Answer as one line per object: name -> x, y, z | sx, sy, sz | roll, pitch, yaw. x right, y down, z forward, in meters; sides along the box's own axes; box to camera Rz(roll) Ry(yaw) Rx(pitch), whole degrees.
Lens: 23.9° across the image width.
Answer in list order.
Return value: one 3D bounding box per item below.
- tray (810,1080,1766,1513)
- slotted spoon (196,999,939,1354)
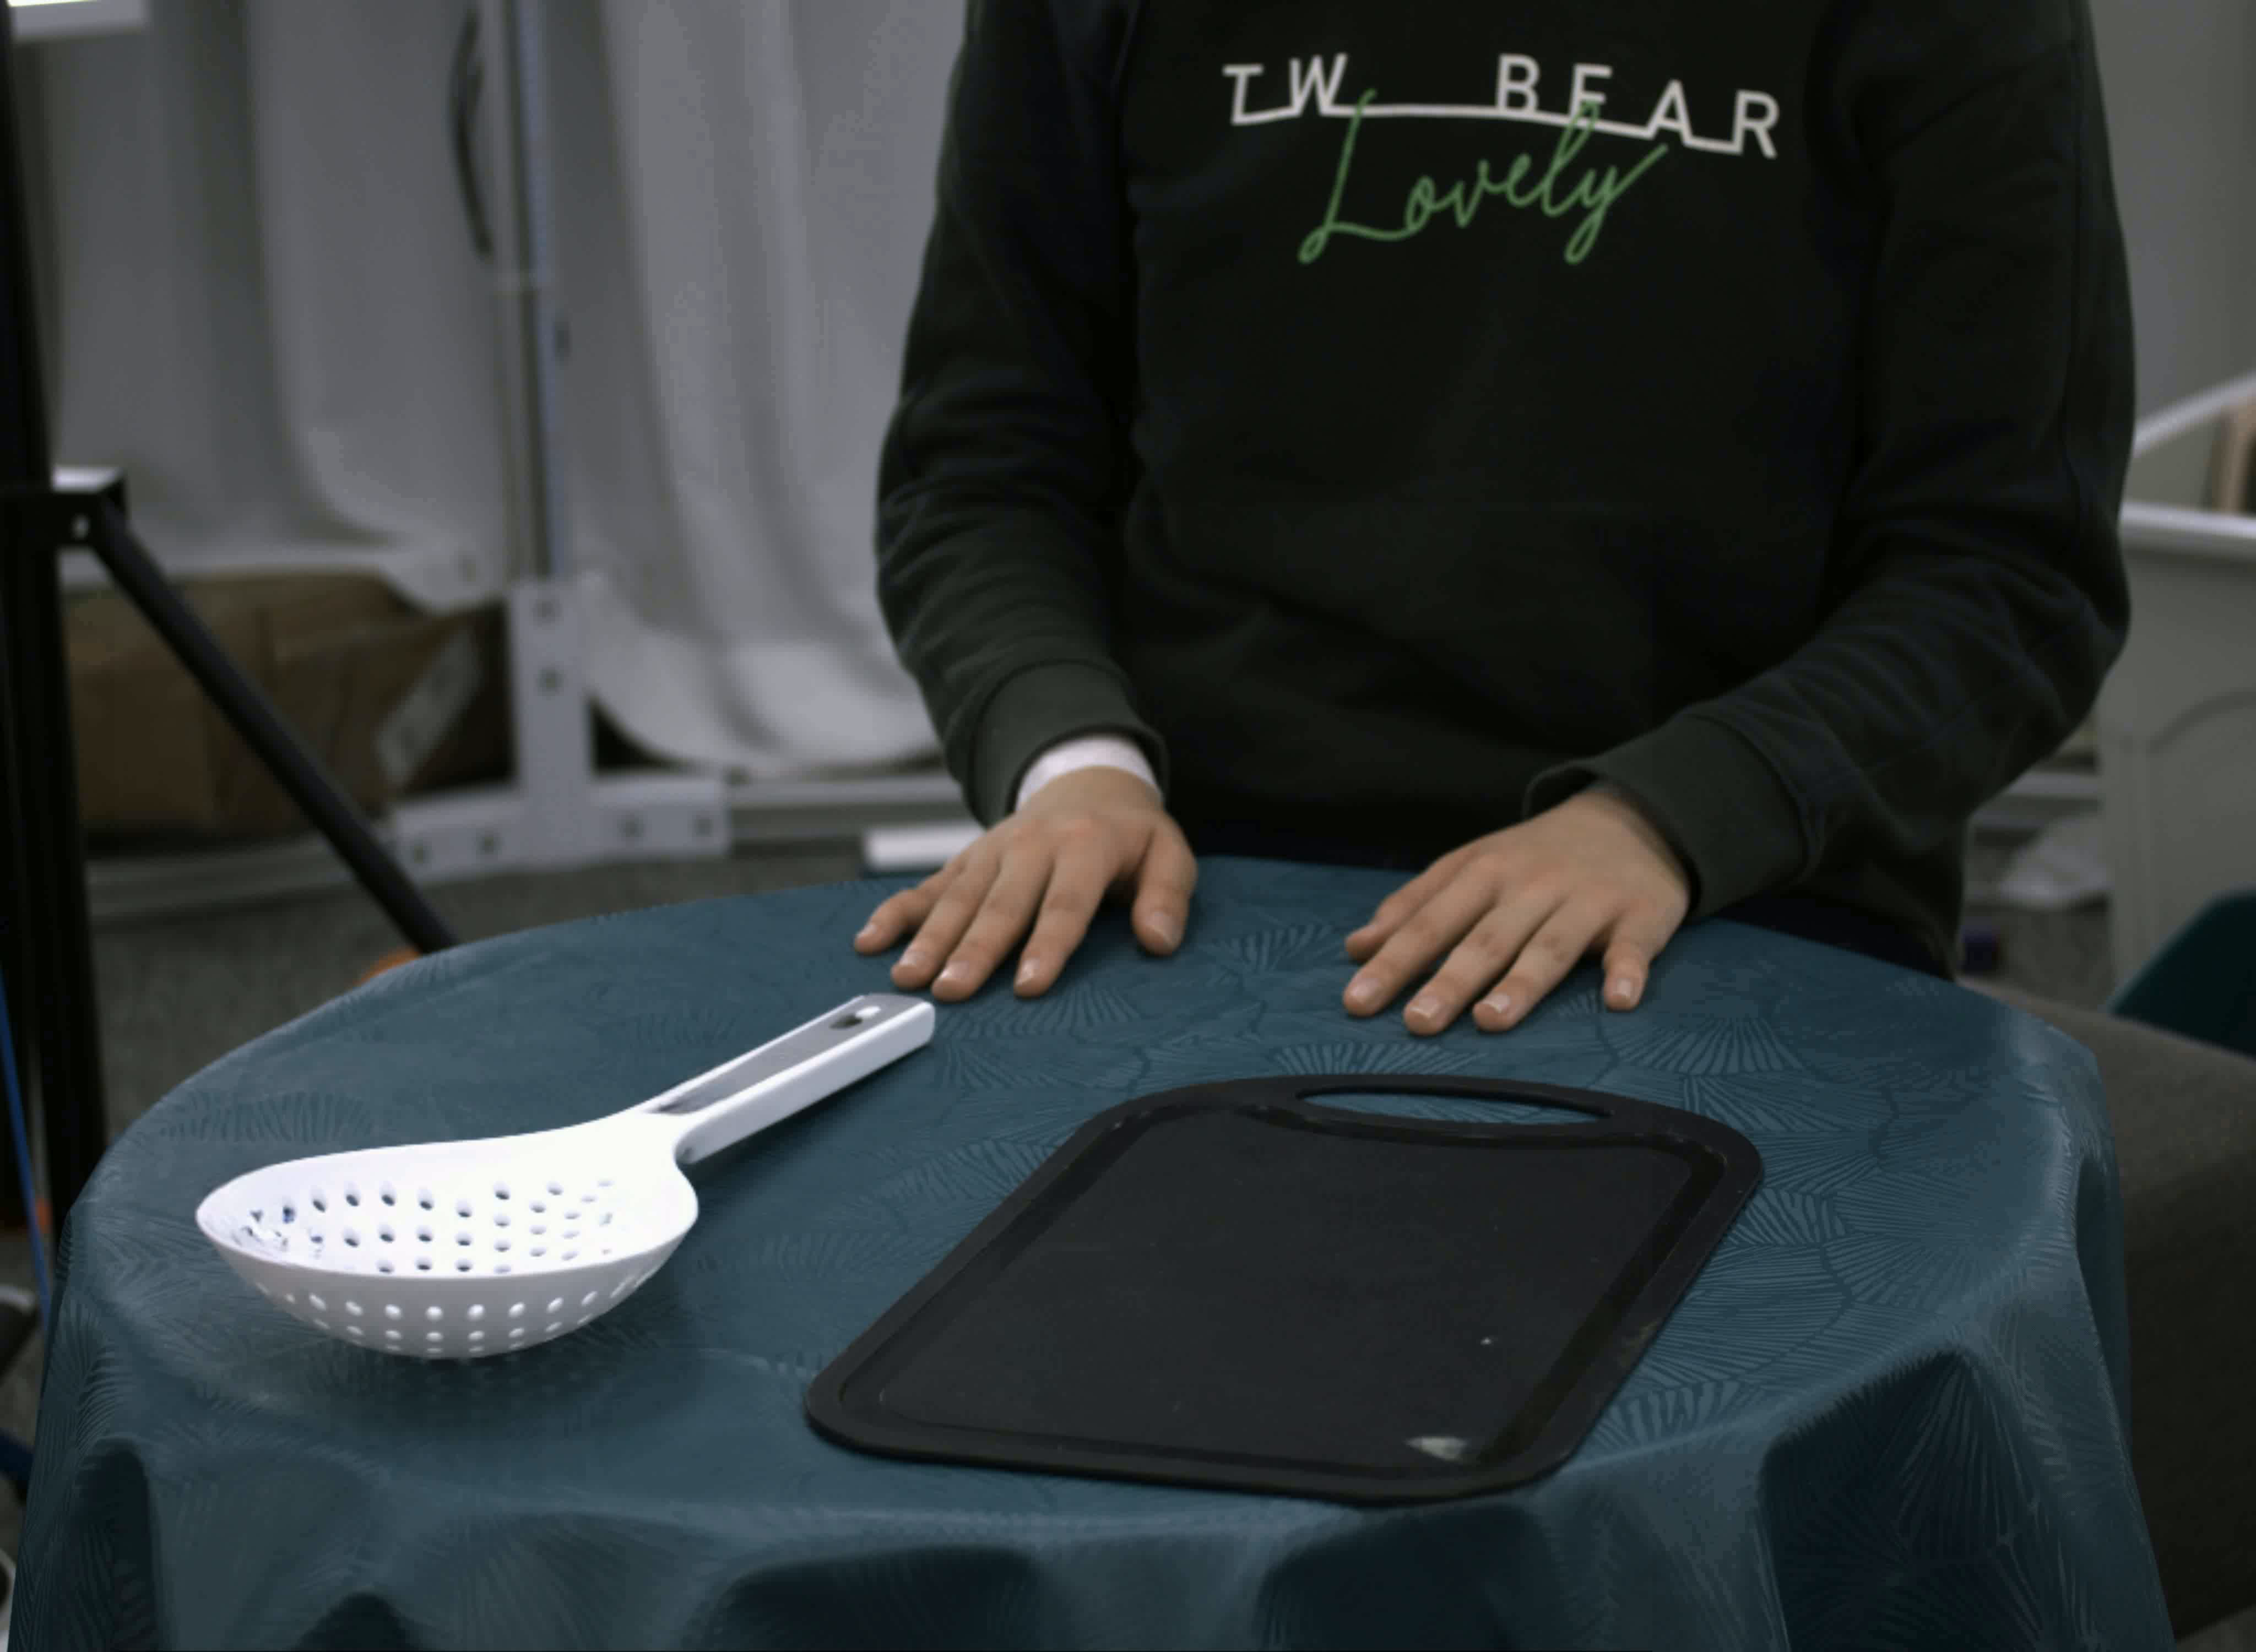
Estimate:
tray -> 0.054, 0.122, 1.486 | 0.213, 0.010, 0.321 | 4, 17, 20
slotted spoon -> -0.142, 0.092, 1.553 | 0.138, 0.046, 0.344 | 7, 17, 24
